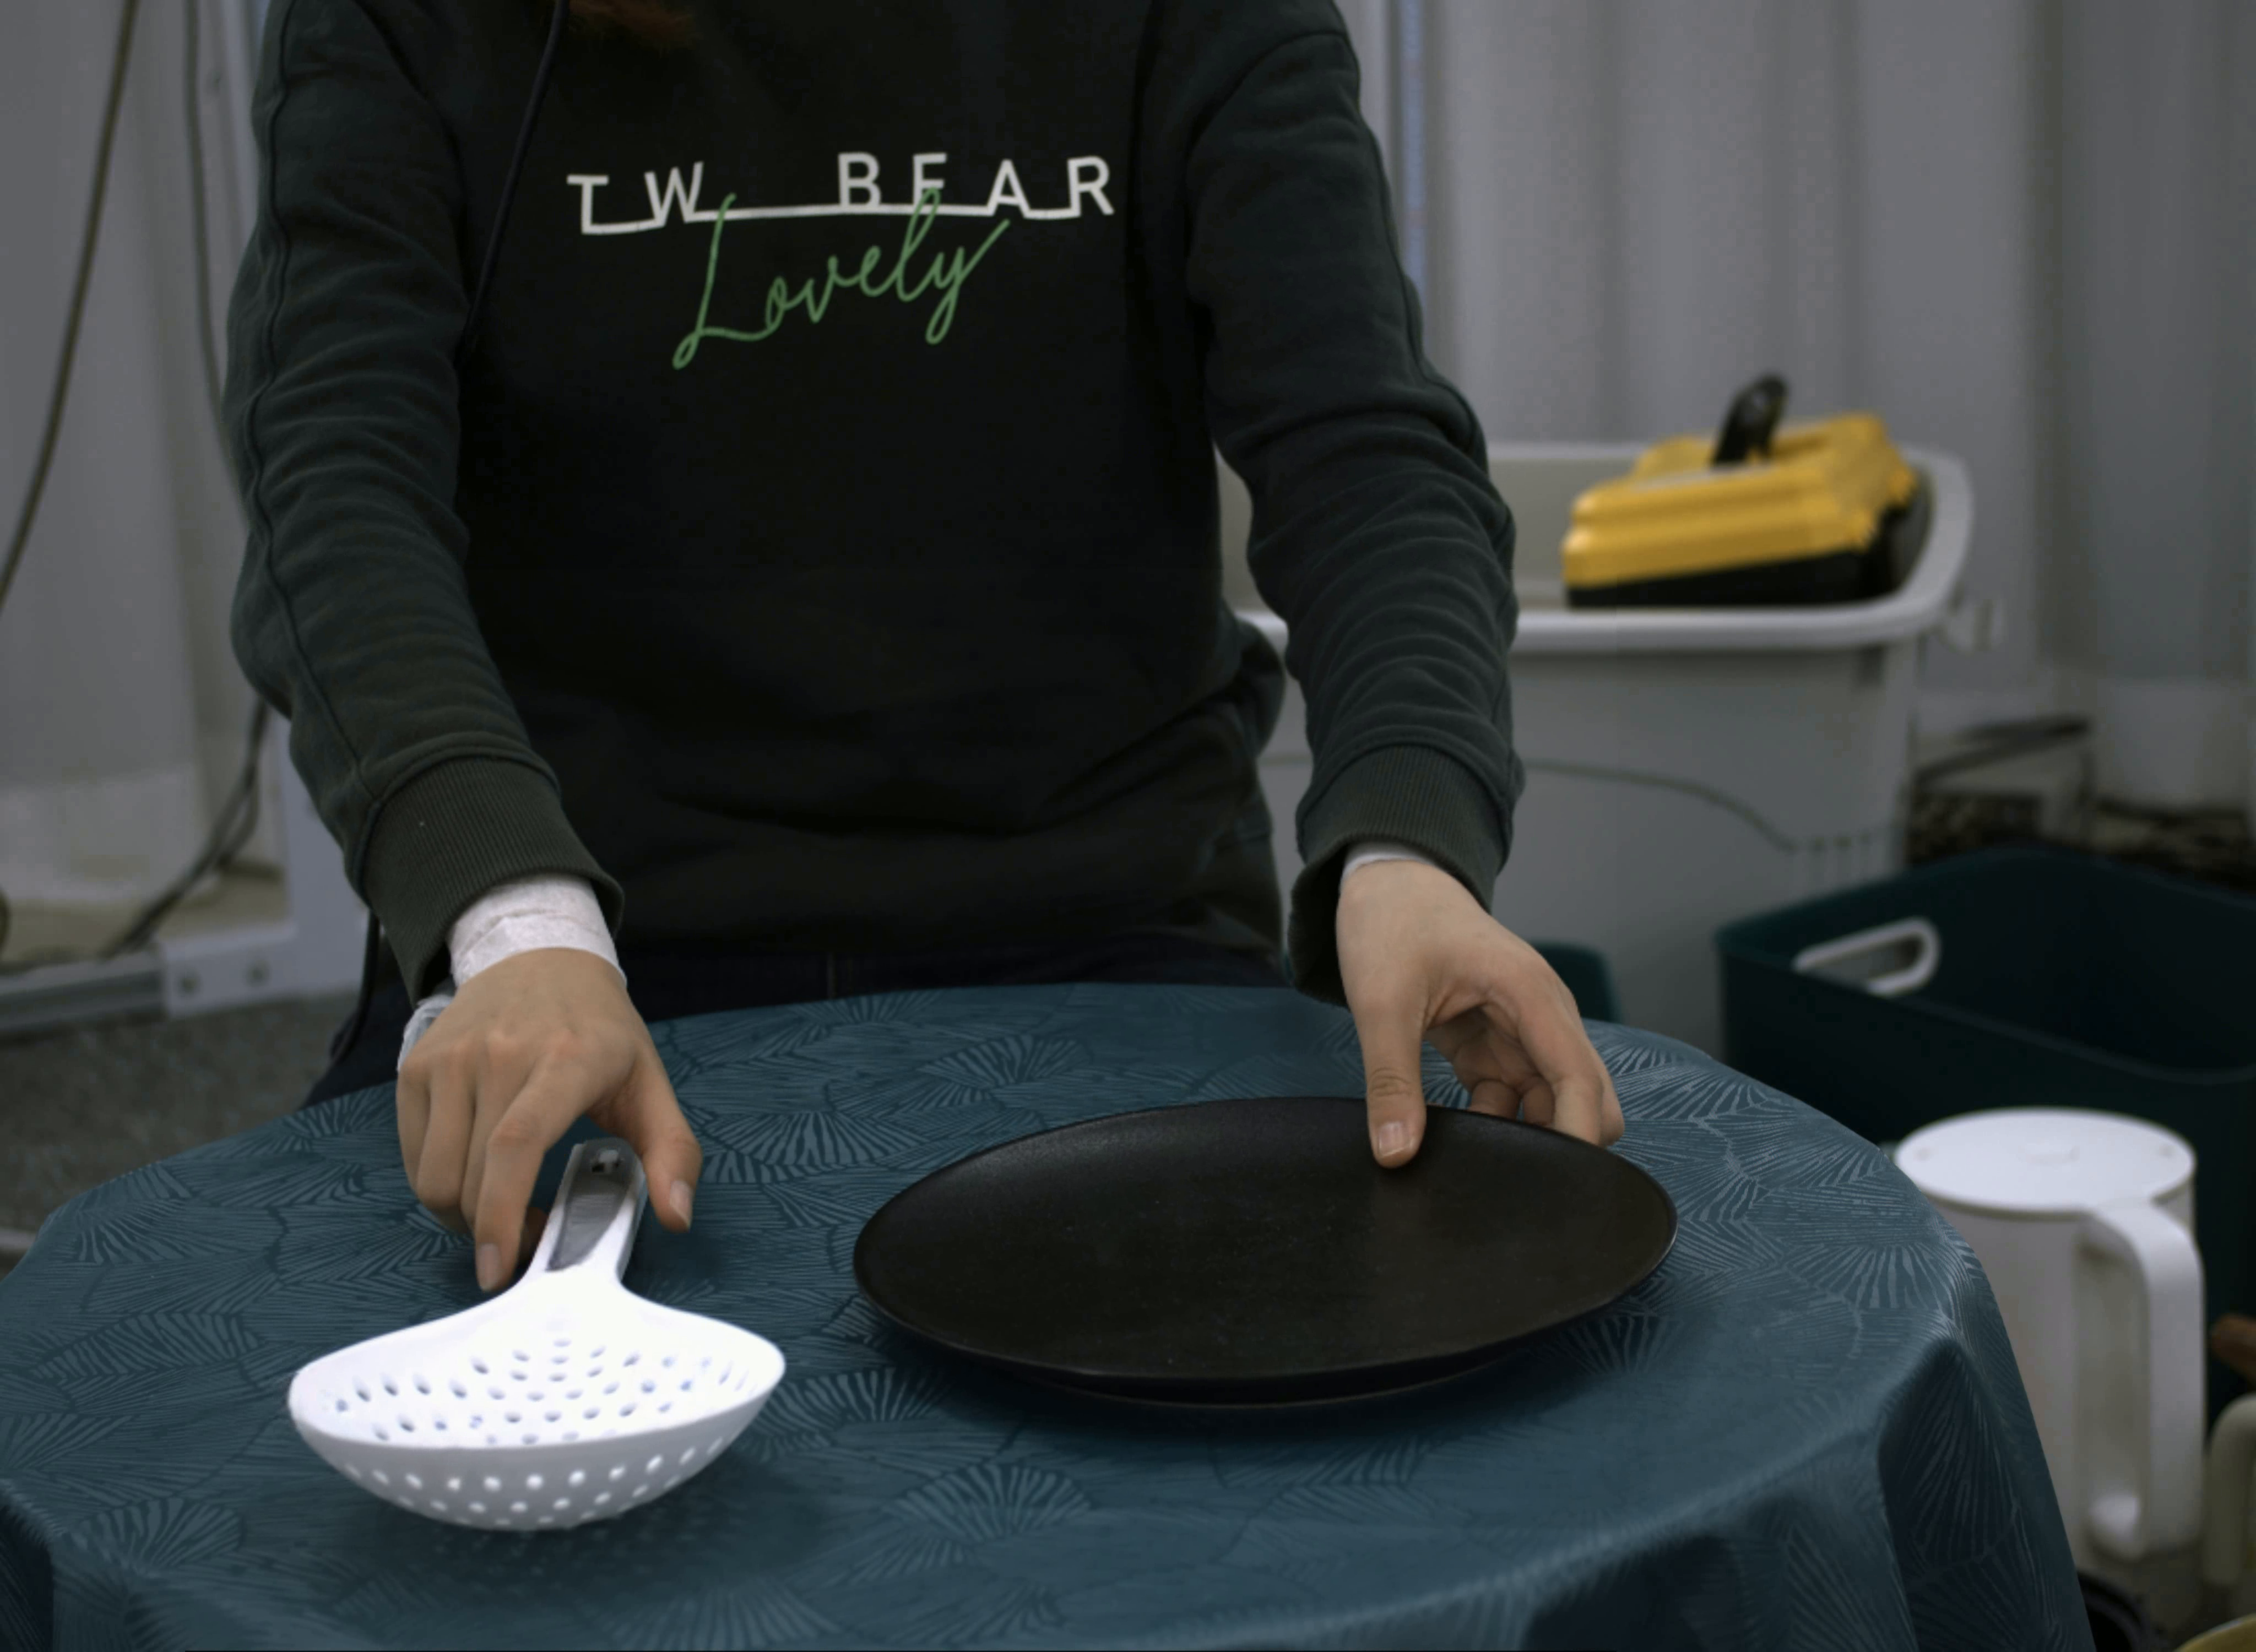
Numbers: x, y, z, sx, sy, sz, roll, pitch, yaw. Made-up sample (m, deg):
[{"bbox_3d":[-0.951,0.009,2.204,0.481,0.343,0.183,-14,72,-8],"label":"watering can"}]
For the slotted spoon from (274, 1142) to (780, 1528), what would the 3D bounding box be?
[{"bbox_3d":[-0.161,0.137,1.574,0.135,0.045,0.352,-1,14,0],"label":"slotted spoon"}]

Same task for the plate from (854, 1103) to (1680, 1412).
[{"bbox_3d":[0.041,0.129,1.609,0.243,0.023,0.246,-3,15,0],"label":"plate"}]
